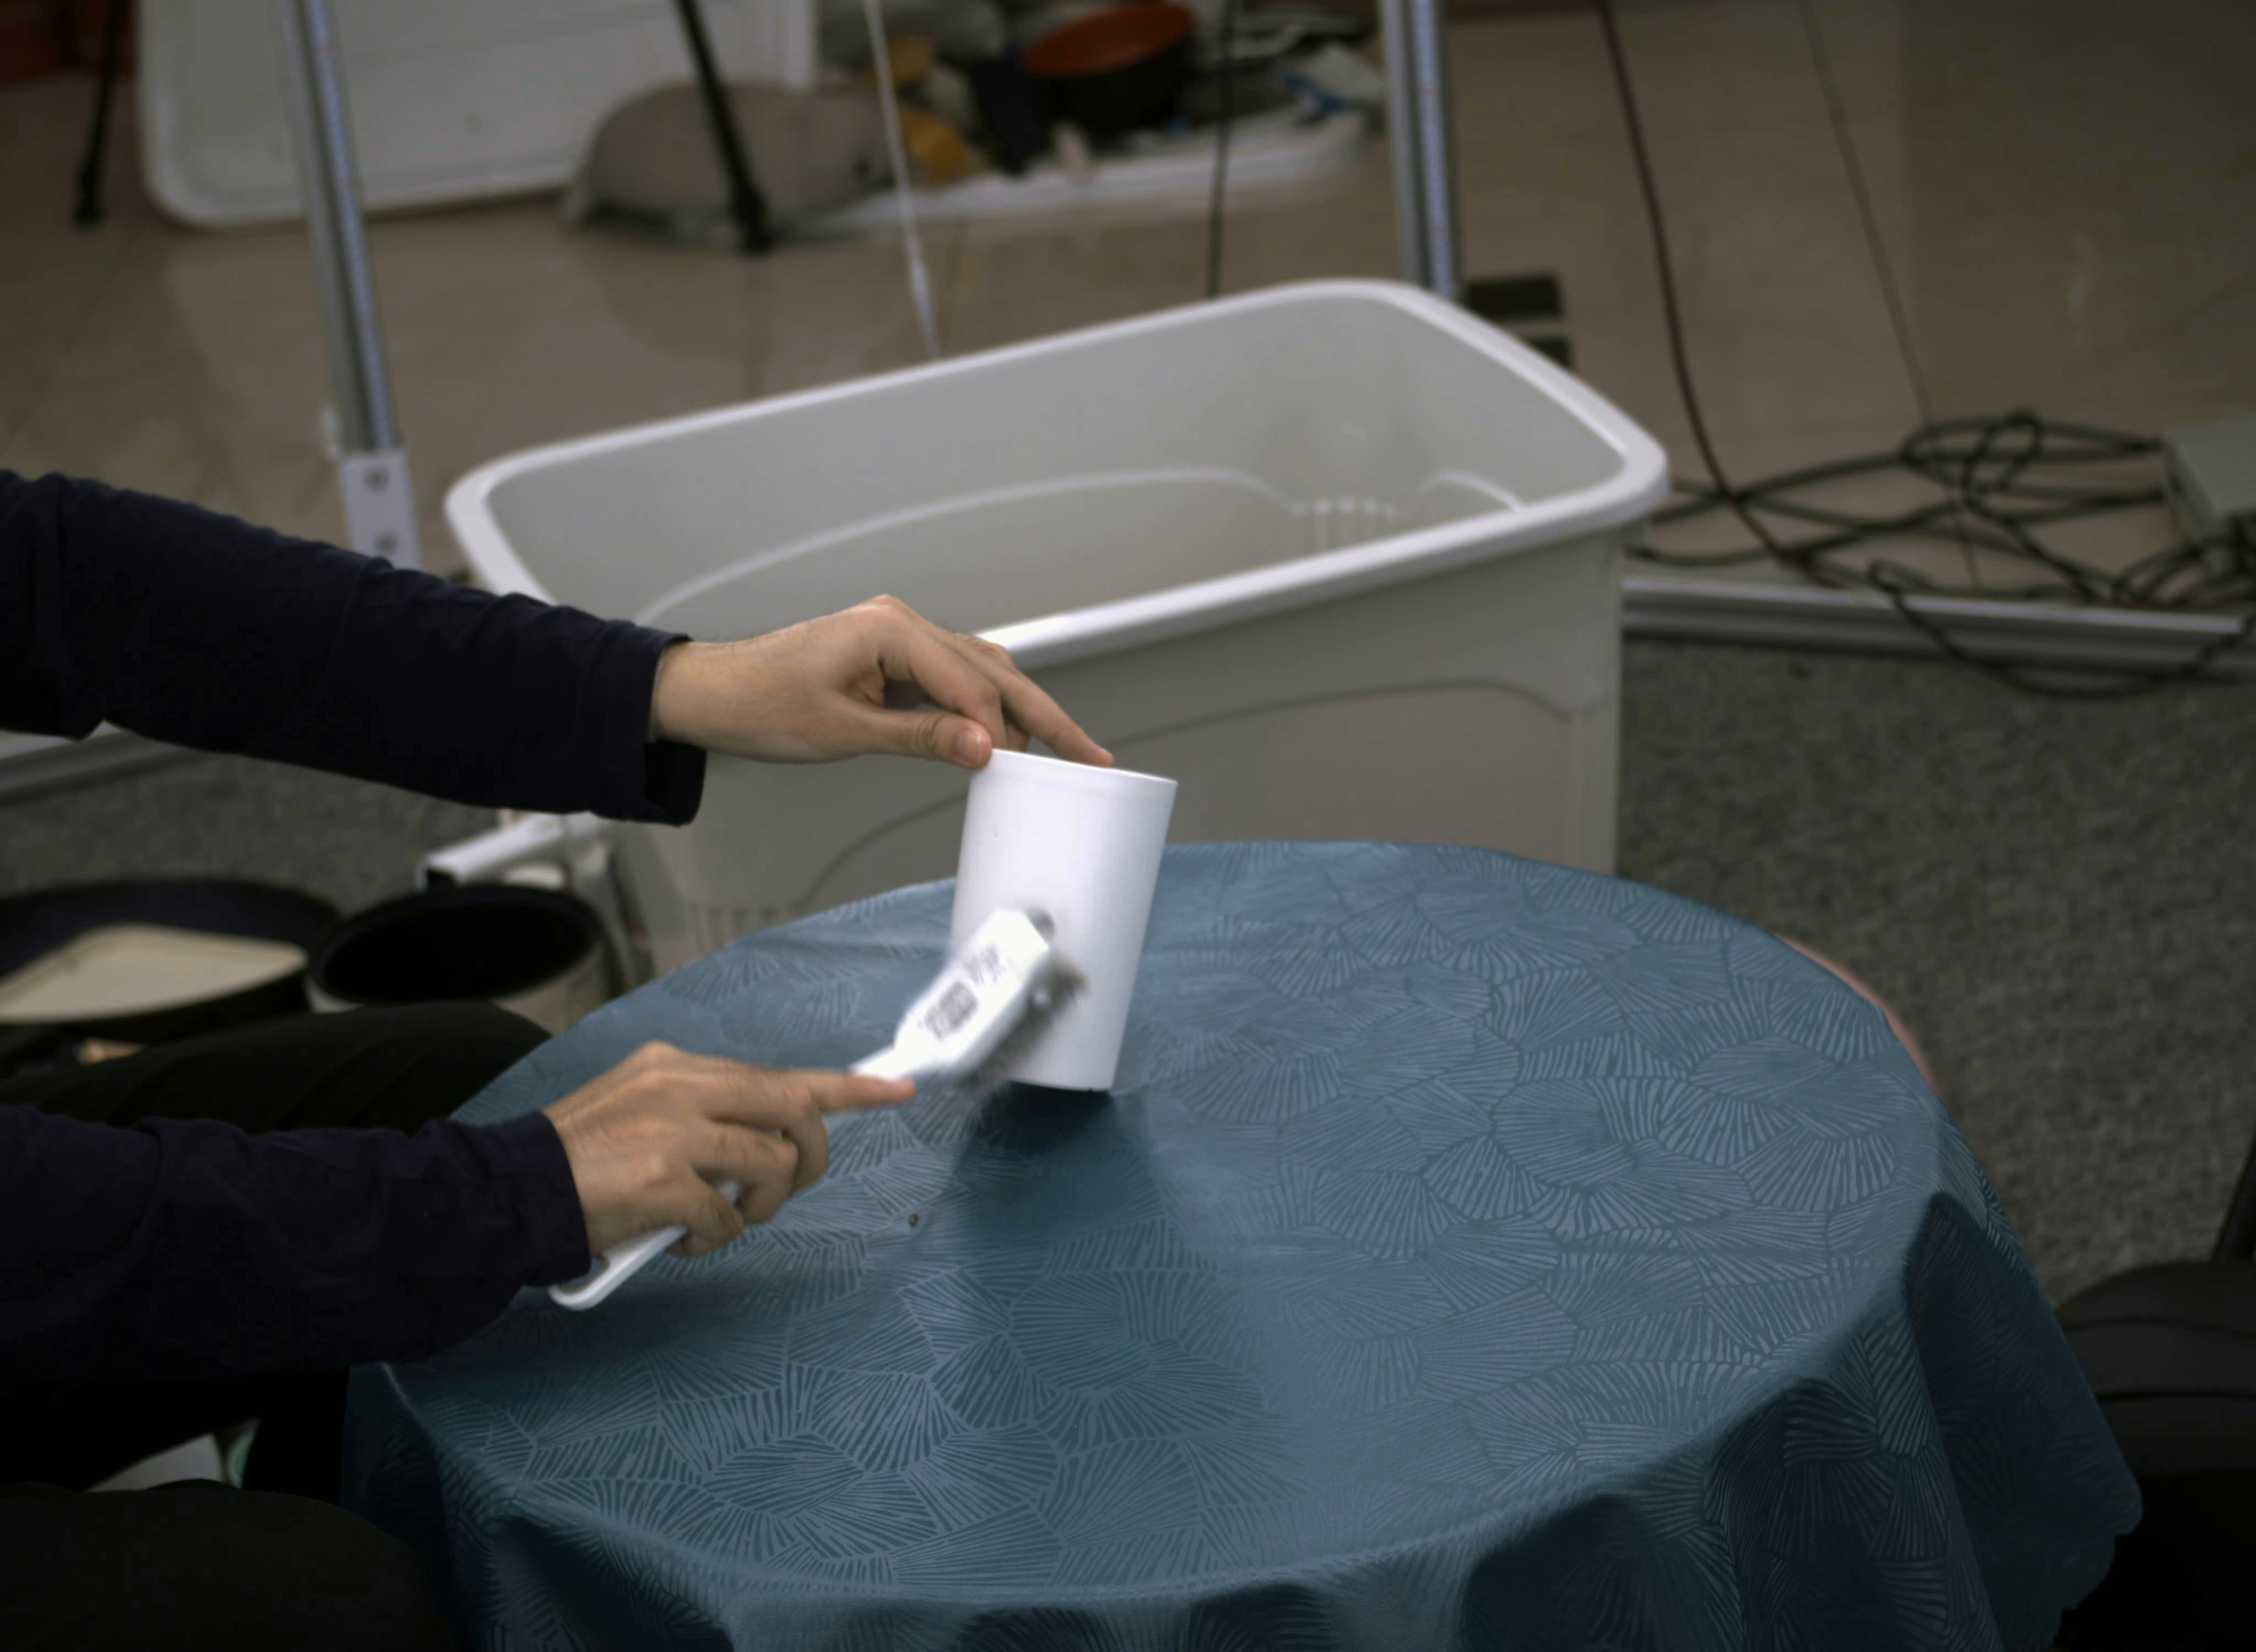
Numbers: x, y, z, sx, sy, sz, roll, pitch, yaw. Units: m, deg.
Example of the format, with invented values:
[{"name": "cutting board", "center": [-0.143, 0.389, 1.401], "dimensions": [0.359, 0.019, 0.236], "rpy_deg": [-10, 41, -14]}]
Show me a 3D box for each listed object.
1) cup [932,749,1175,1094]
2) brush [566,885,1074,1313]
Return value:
[{"name": "cup", "center": [-0.031, 0.038, 2.207], "dimensions": [0.081, 0.126, 0.081], "rpy_deg": [9, 3, 0]}, {"name": "brush", "center": [-0.114, 0.110, 2.114], "dimensions": [0.034, 0.051, 0.241], "rpy_deg": [35, 66, 30]}]
